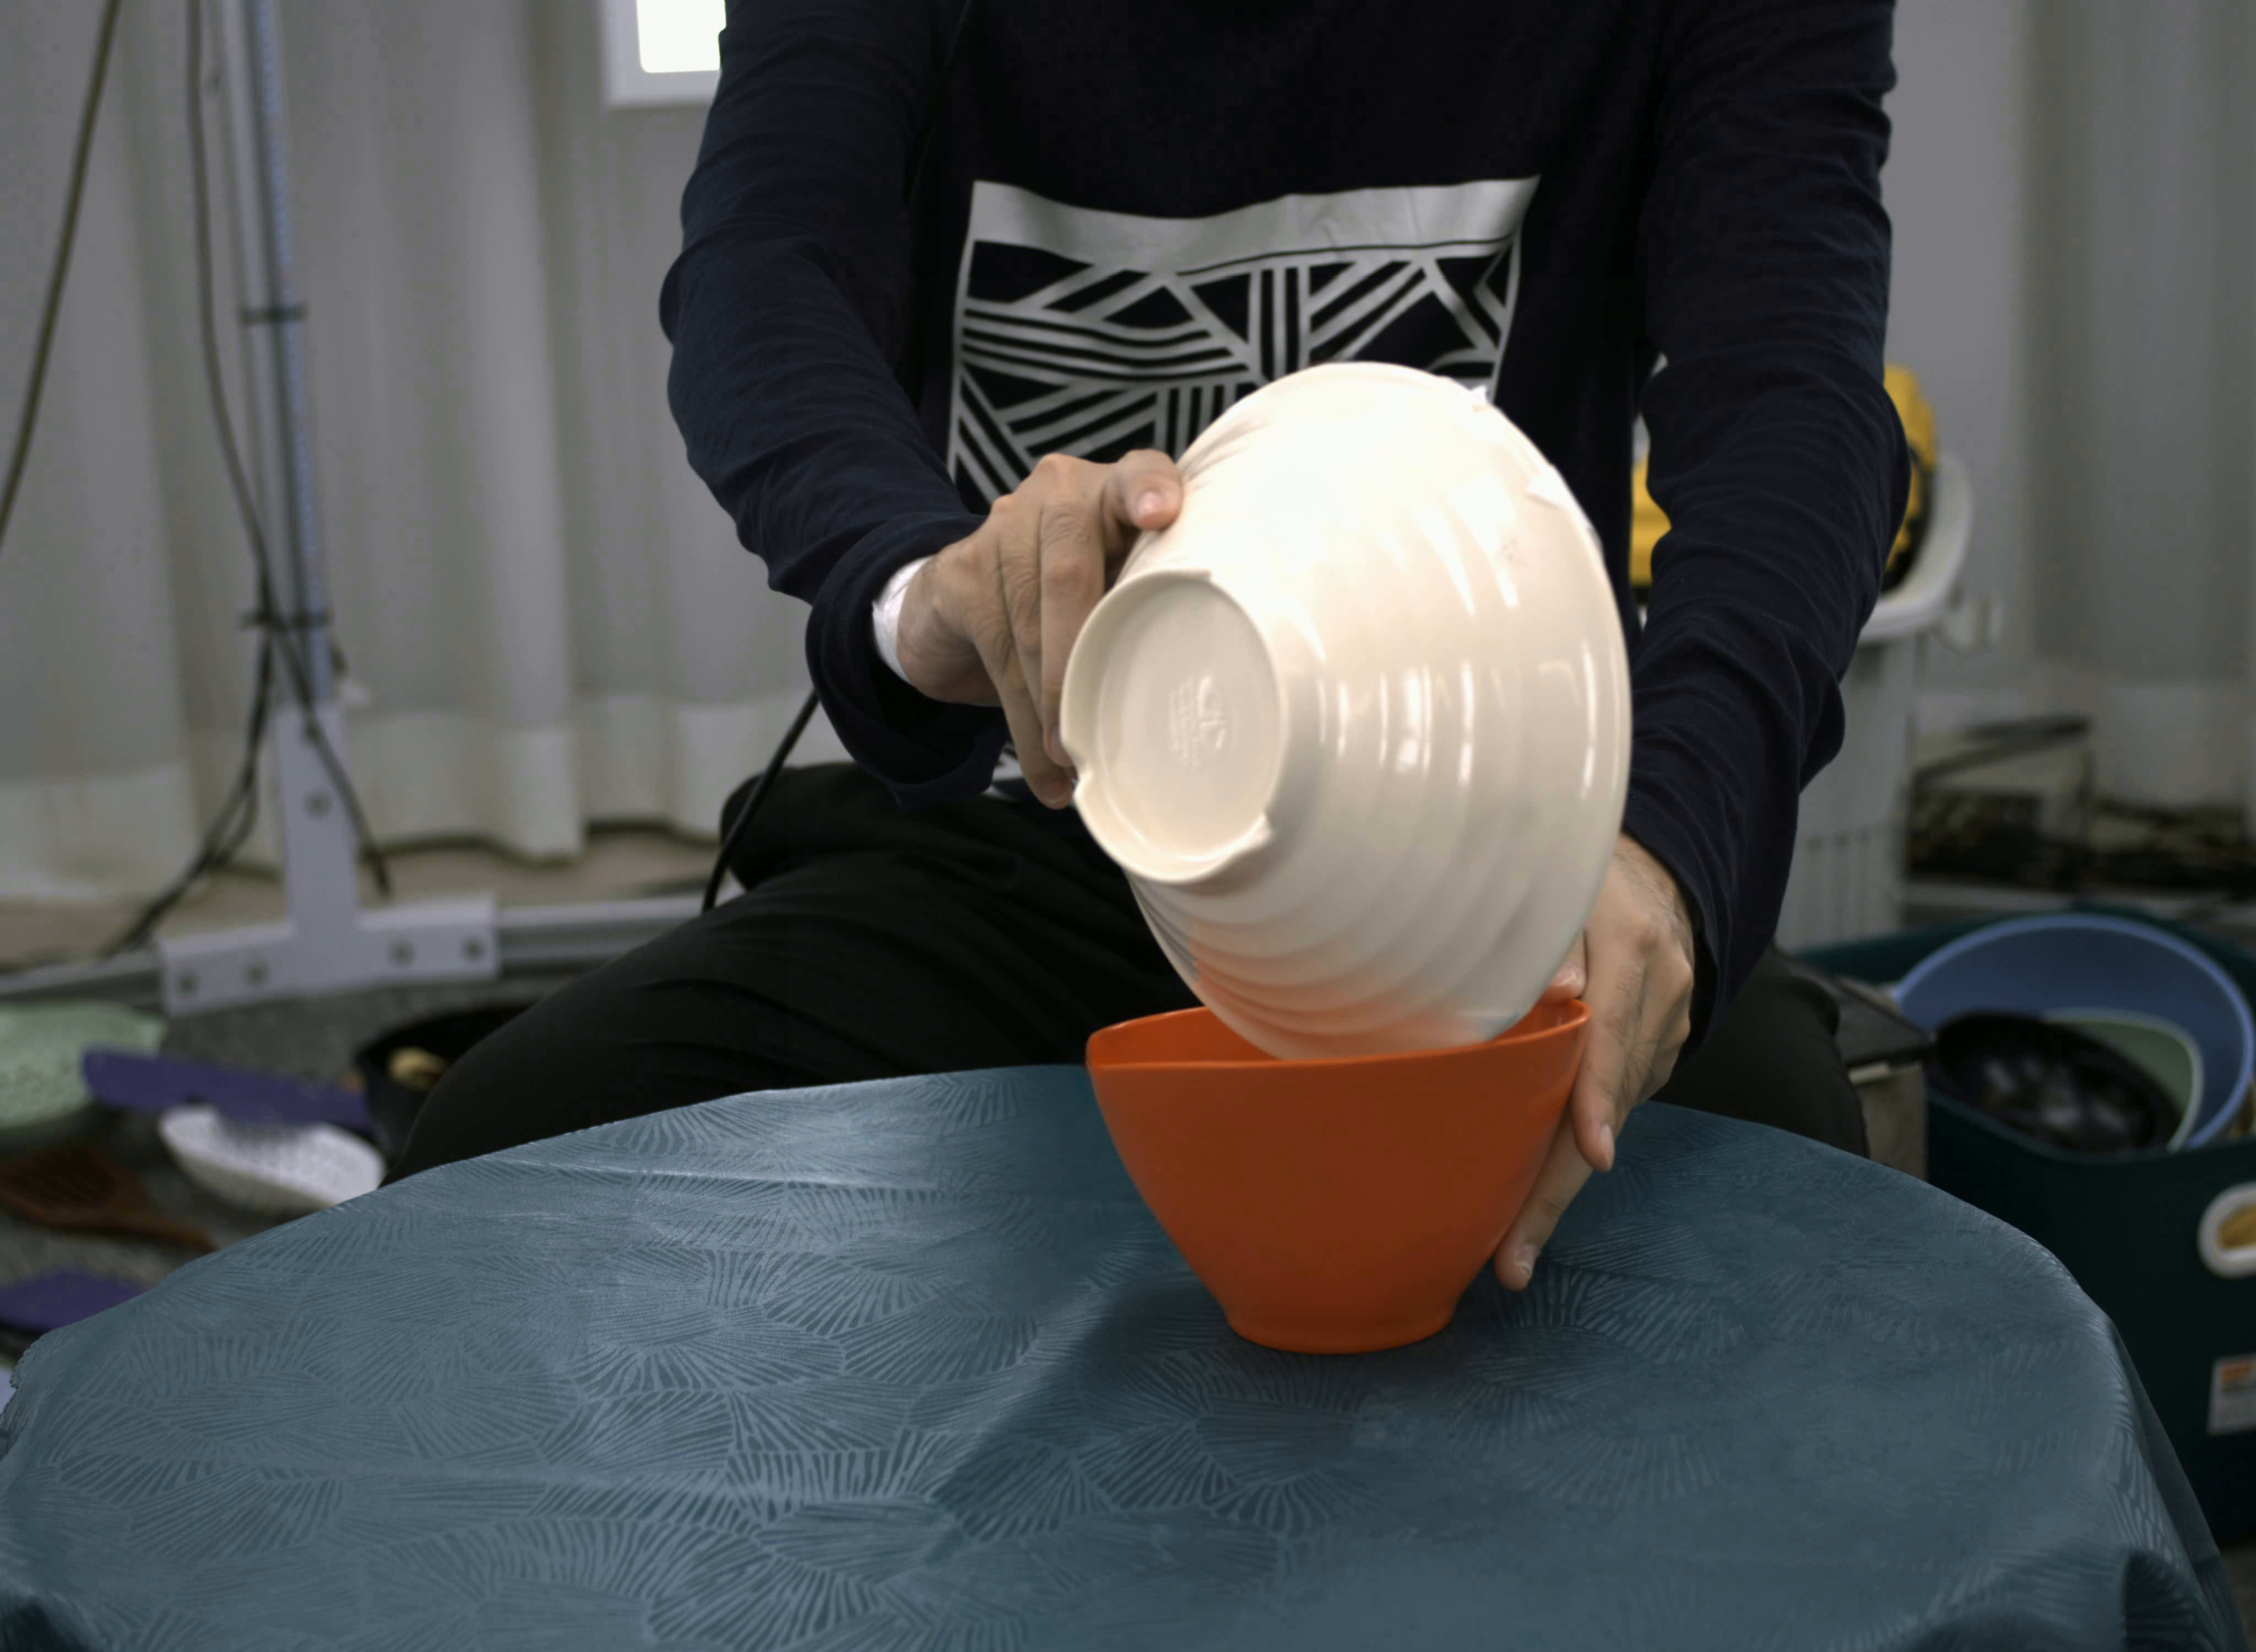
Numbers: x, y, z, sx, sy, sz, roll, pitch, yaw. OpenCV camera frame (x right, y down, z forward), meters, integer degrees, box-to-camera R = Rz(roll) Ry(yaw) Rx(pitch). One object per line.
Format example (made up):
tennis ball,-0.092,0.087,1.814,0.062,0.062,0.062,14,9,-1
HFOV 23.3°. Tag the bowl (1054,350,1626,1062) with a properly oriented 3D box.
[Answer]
bowl,0.037,-0.031,1.515,0.077,0.204,0.205,1,8,-45

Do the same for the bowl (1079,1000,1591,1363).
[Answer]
bowl,0.061,0.099,1.575,0.147,0.104,0.149,-3,12,0
